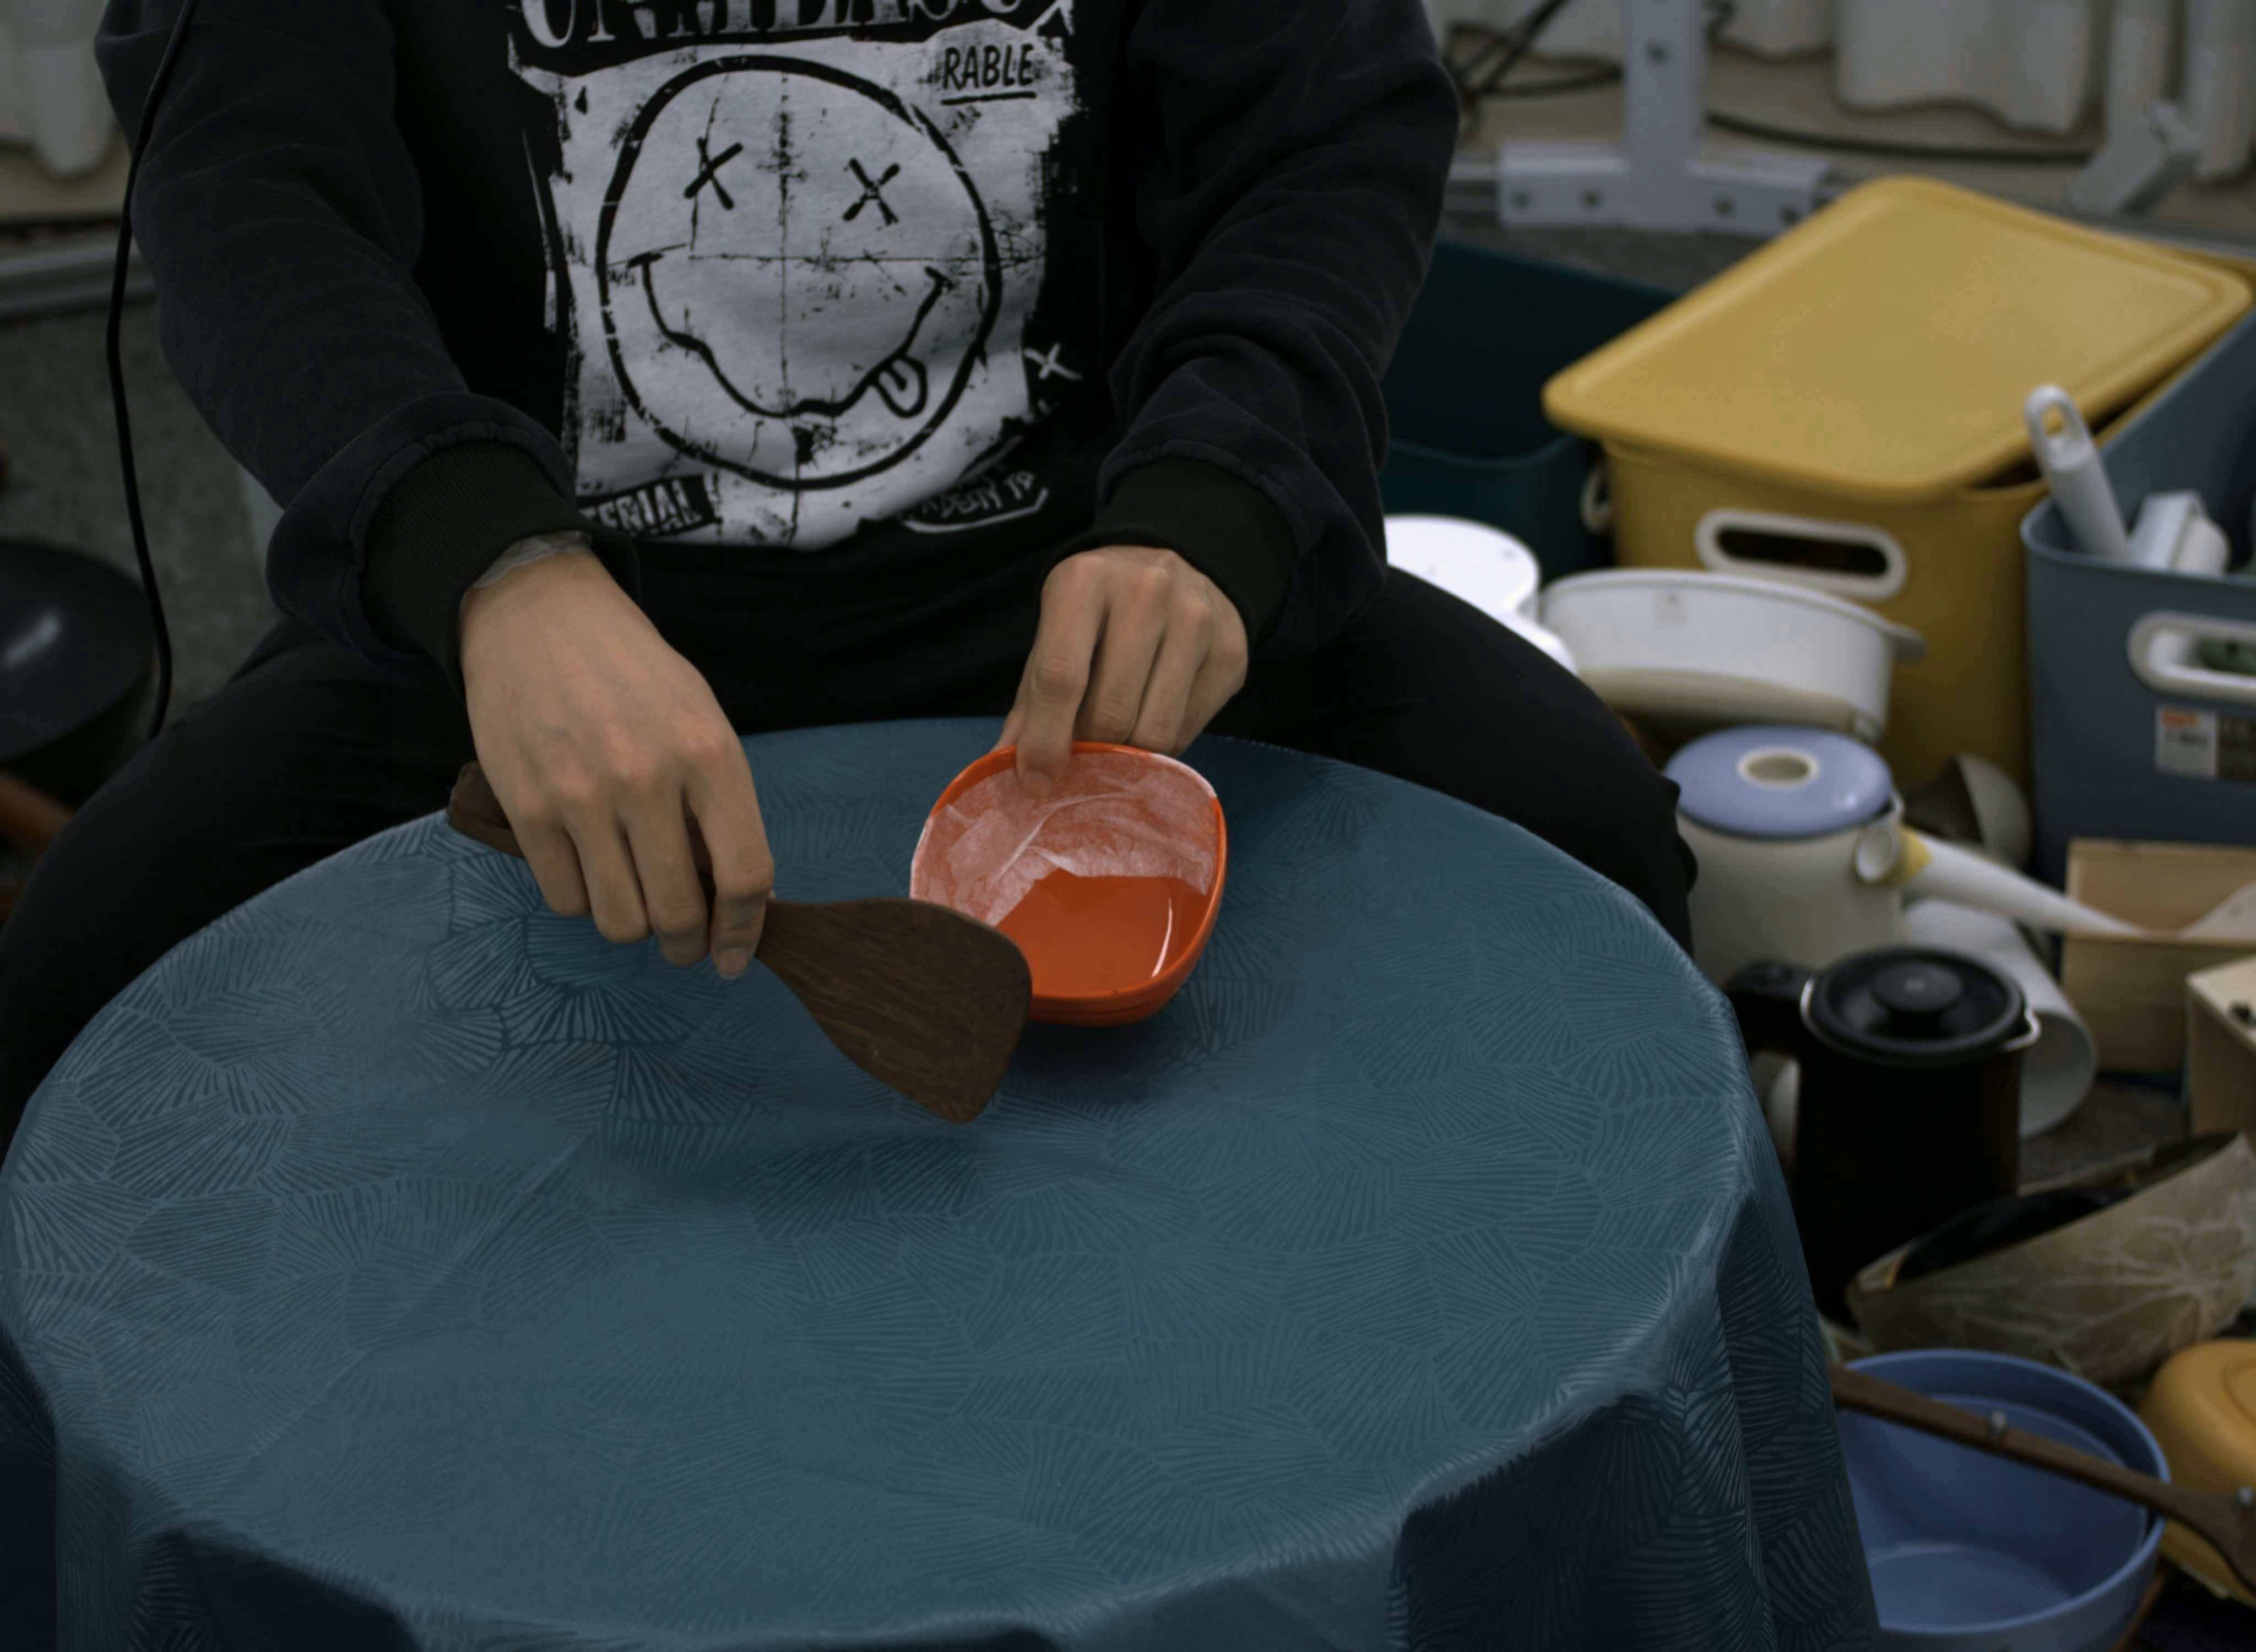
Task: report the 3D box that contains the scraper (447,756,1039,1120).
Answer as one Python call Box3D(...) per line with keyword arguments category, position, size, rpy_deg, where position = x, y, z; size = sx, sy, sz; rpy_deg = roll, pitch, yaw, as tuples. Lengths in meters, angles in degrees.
Box3D(category="scraper", position=(-0.131, 0.029, 1.890), size=(0.210, 0.075, 0.011), rpy_deg=(24, 23, 3))

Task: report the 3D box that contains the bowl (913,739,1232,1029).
Box3D(category="bowl", position=(-0.018, 0.029, 1.962), size=(0.118, 0.050, 0.121), rpy_deg=(-2, 53, 3))
